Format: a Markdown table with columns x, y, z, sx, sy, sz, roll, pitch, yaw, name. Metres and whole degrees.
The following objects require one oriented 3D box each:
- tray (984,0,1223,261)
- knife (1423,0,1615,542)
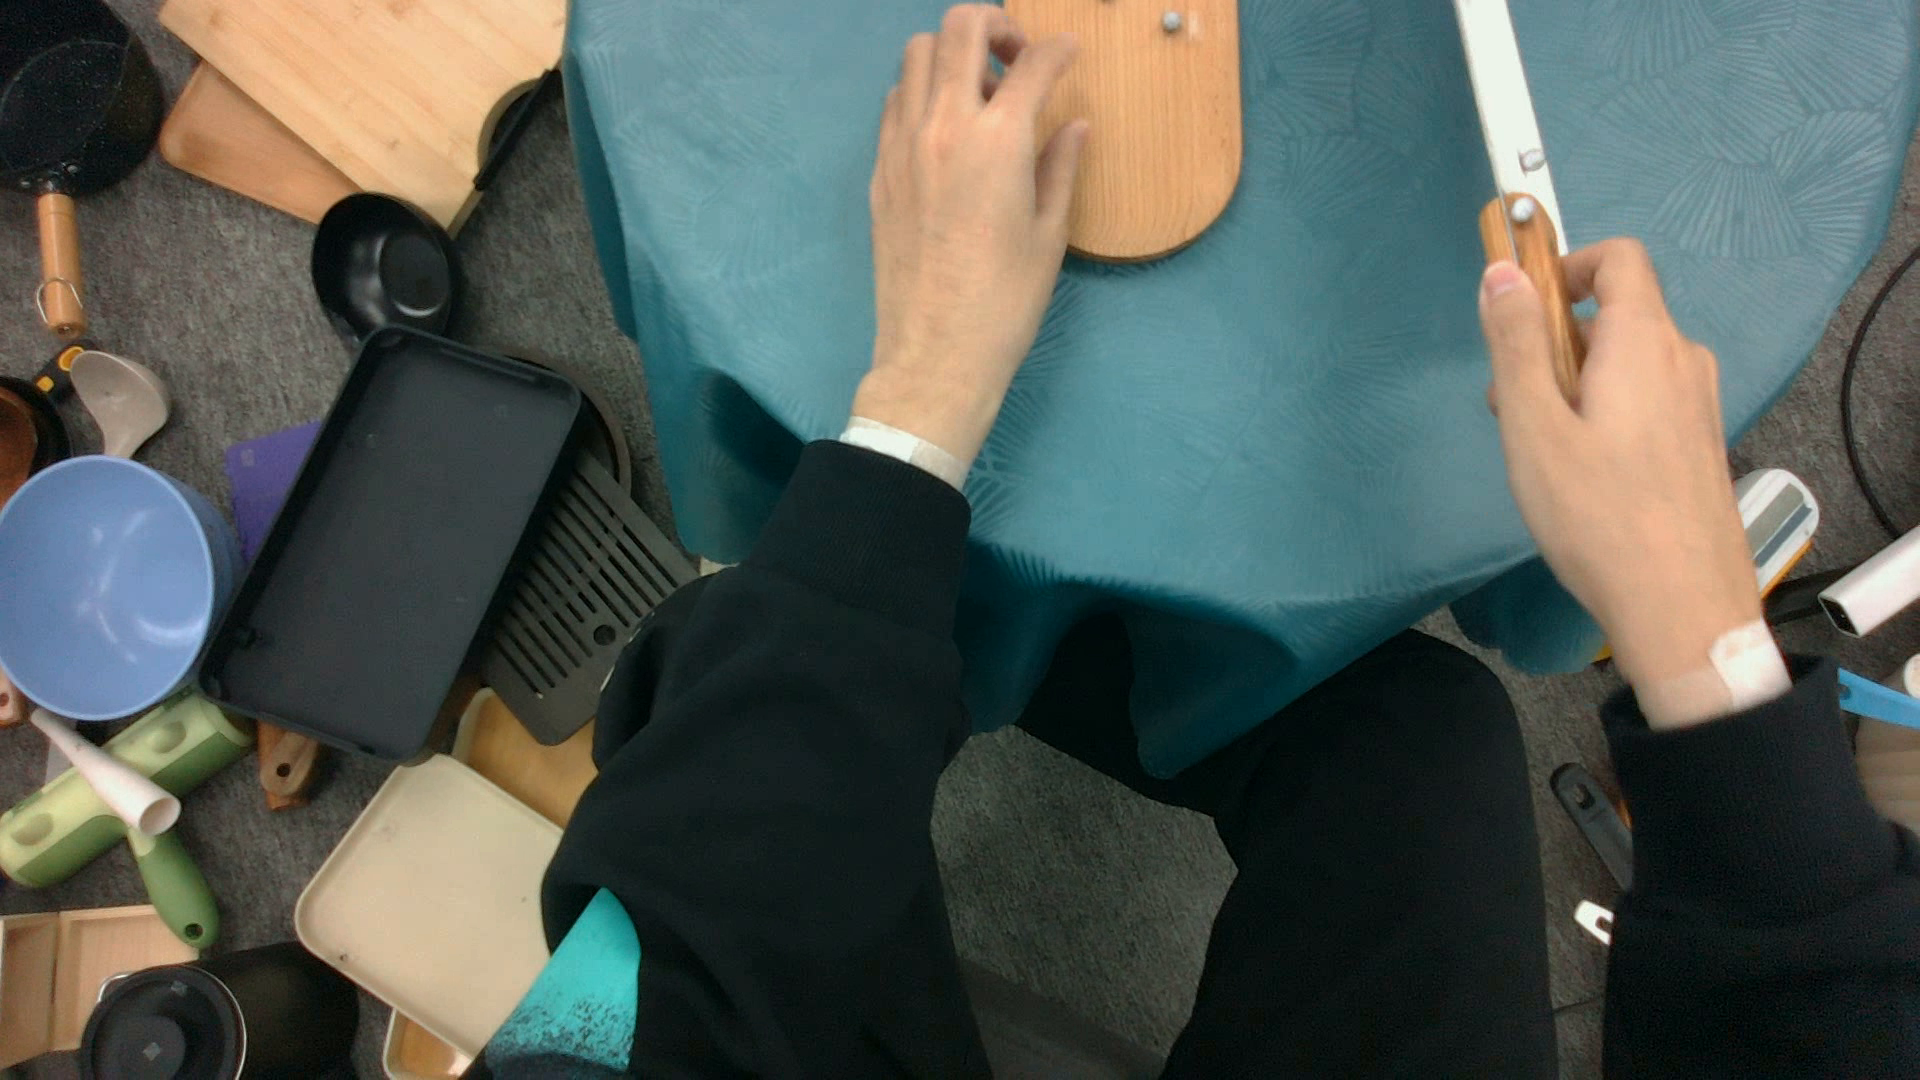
| x | y | z | sx | sy | sz | roll | pitch | yaw | name |
| --- | --- | --- | --- | --- | --- | --- | --- | --- | --- |
| 0.061 | -0.231 | 0.603 | 0.101 | 0.020 | 0.231 | 0 | 79 | 1 | tray |
| 0.201 | -0.141 | 0.518 | 0.021 | 0.093 | 0.306 | -19 | 70 | 34 | knife |
